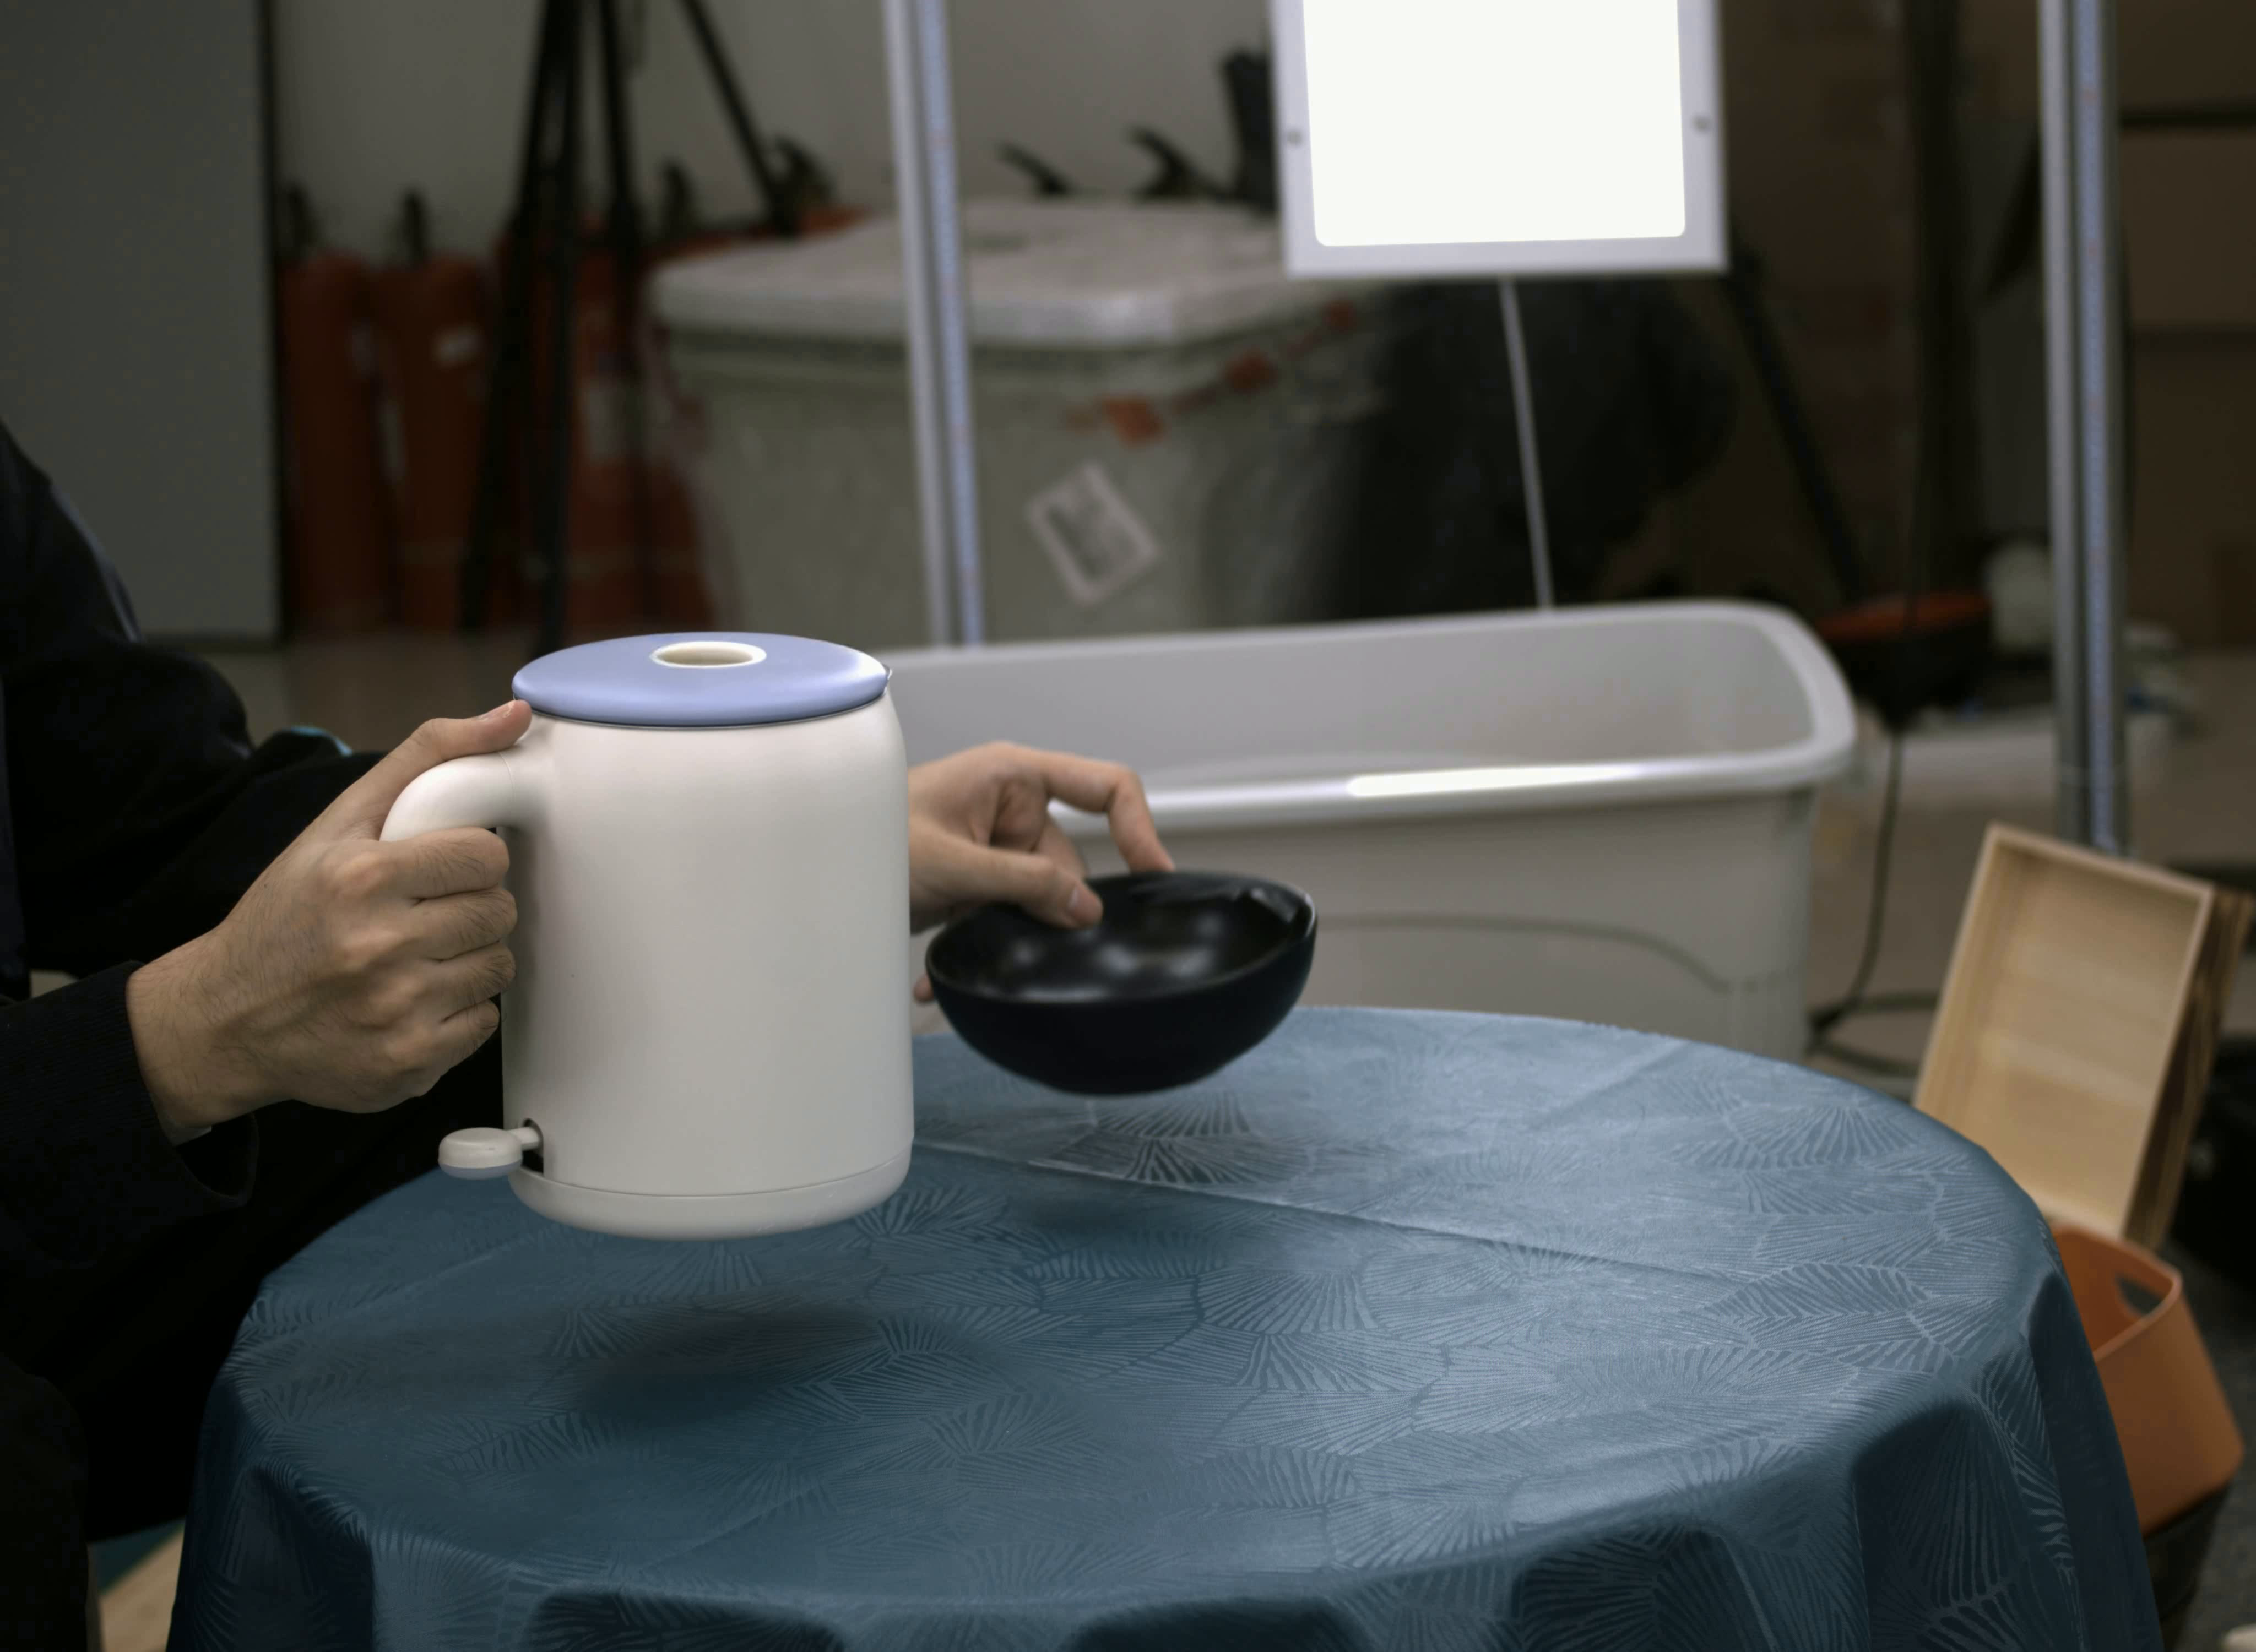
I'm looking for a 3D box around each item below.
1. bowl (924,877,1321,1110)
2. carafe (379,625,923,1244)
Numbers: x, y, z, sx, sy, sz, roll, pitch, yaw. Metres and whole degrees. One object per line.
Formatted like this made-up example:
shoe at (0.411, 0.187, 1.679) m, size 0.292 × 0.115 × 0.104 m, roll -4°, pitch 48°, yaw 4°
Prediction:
bowl at (0.001, 0.063, 1.919) m, size 0.140 × 0.050 × 0.140 m, roll -9°, pitch 17°, yaw 1°
carafe at (-0.153, 0.037, 1.736) m, size 0.186 × 0.183 × 0.135 m, roll -12°, pitch 16°, yaw -33°
